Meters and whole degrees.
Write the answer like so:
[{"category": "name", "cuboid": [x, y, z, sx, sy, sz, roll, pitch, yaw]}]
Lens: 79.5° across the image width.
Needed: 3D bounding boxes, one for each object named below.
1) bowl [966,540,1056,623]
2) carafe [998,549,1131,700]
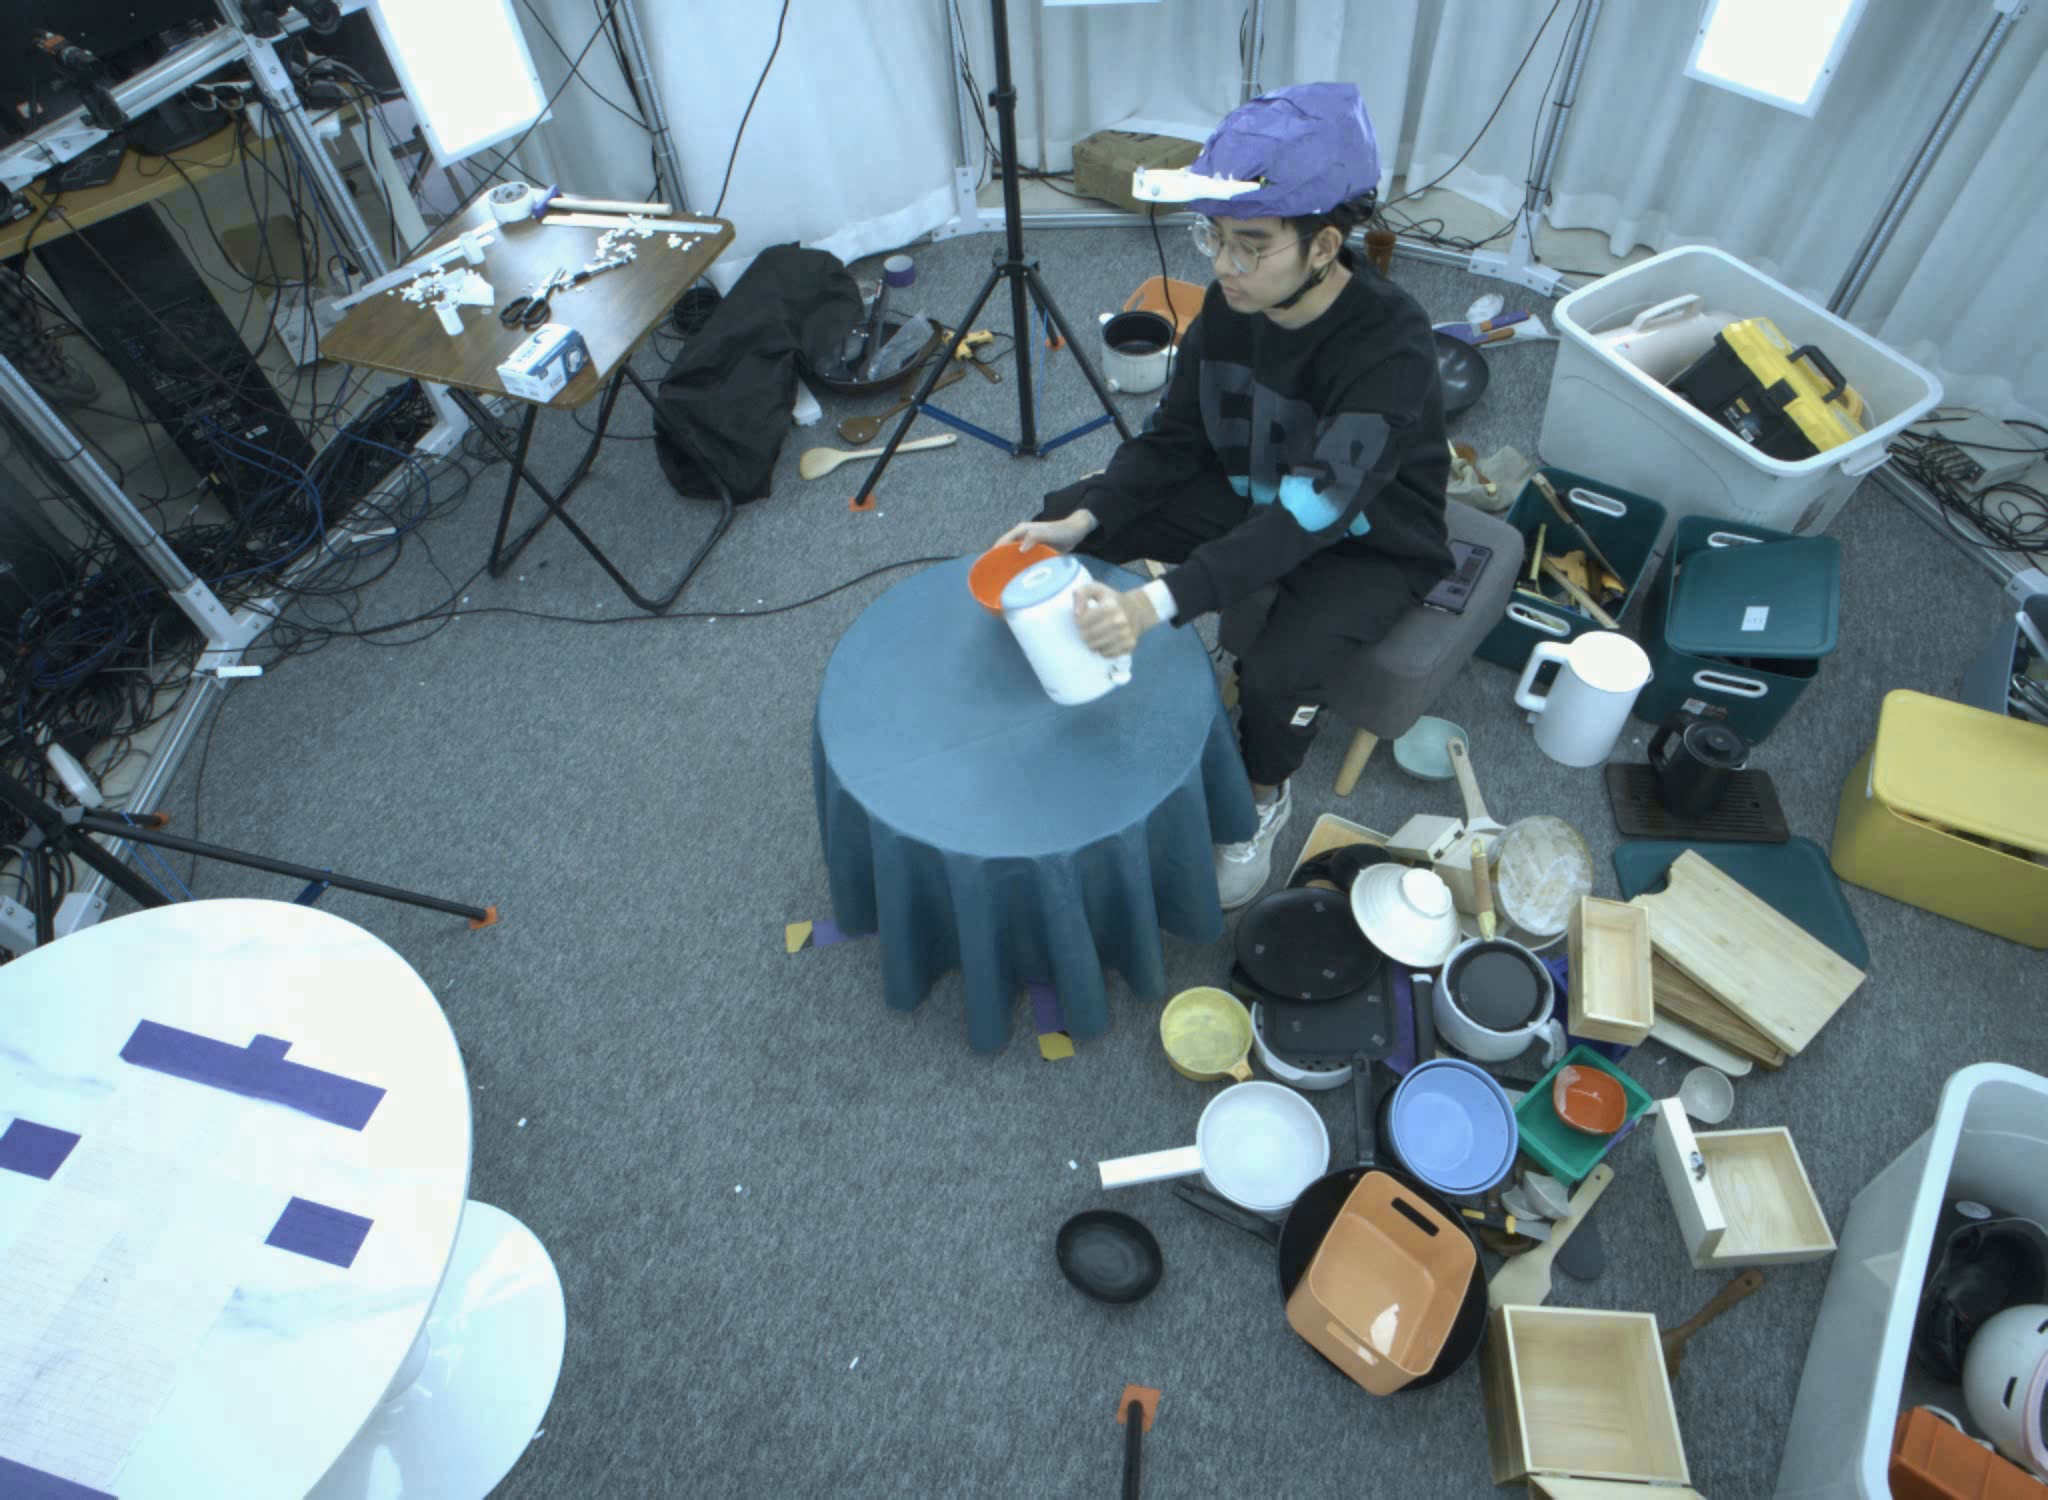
[{"category": "bowl", "cuboid": [-0.012, -0.241, 1.856, 0.148, 0.105, 0.146, 0, 61, 2]}, {"category": "carafe", "cuboid": [0.069, -0.167, 1.669, 0.133, 0.186, 0.186, -44, 34, -20]}]
